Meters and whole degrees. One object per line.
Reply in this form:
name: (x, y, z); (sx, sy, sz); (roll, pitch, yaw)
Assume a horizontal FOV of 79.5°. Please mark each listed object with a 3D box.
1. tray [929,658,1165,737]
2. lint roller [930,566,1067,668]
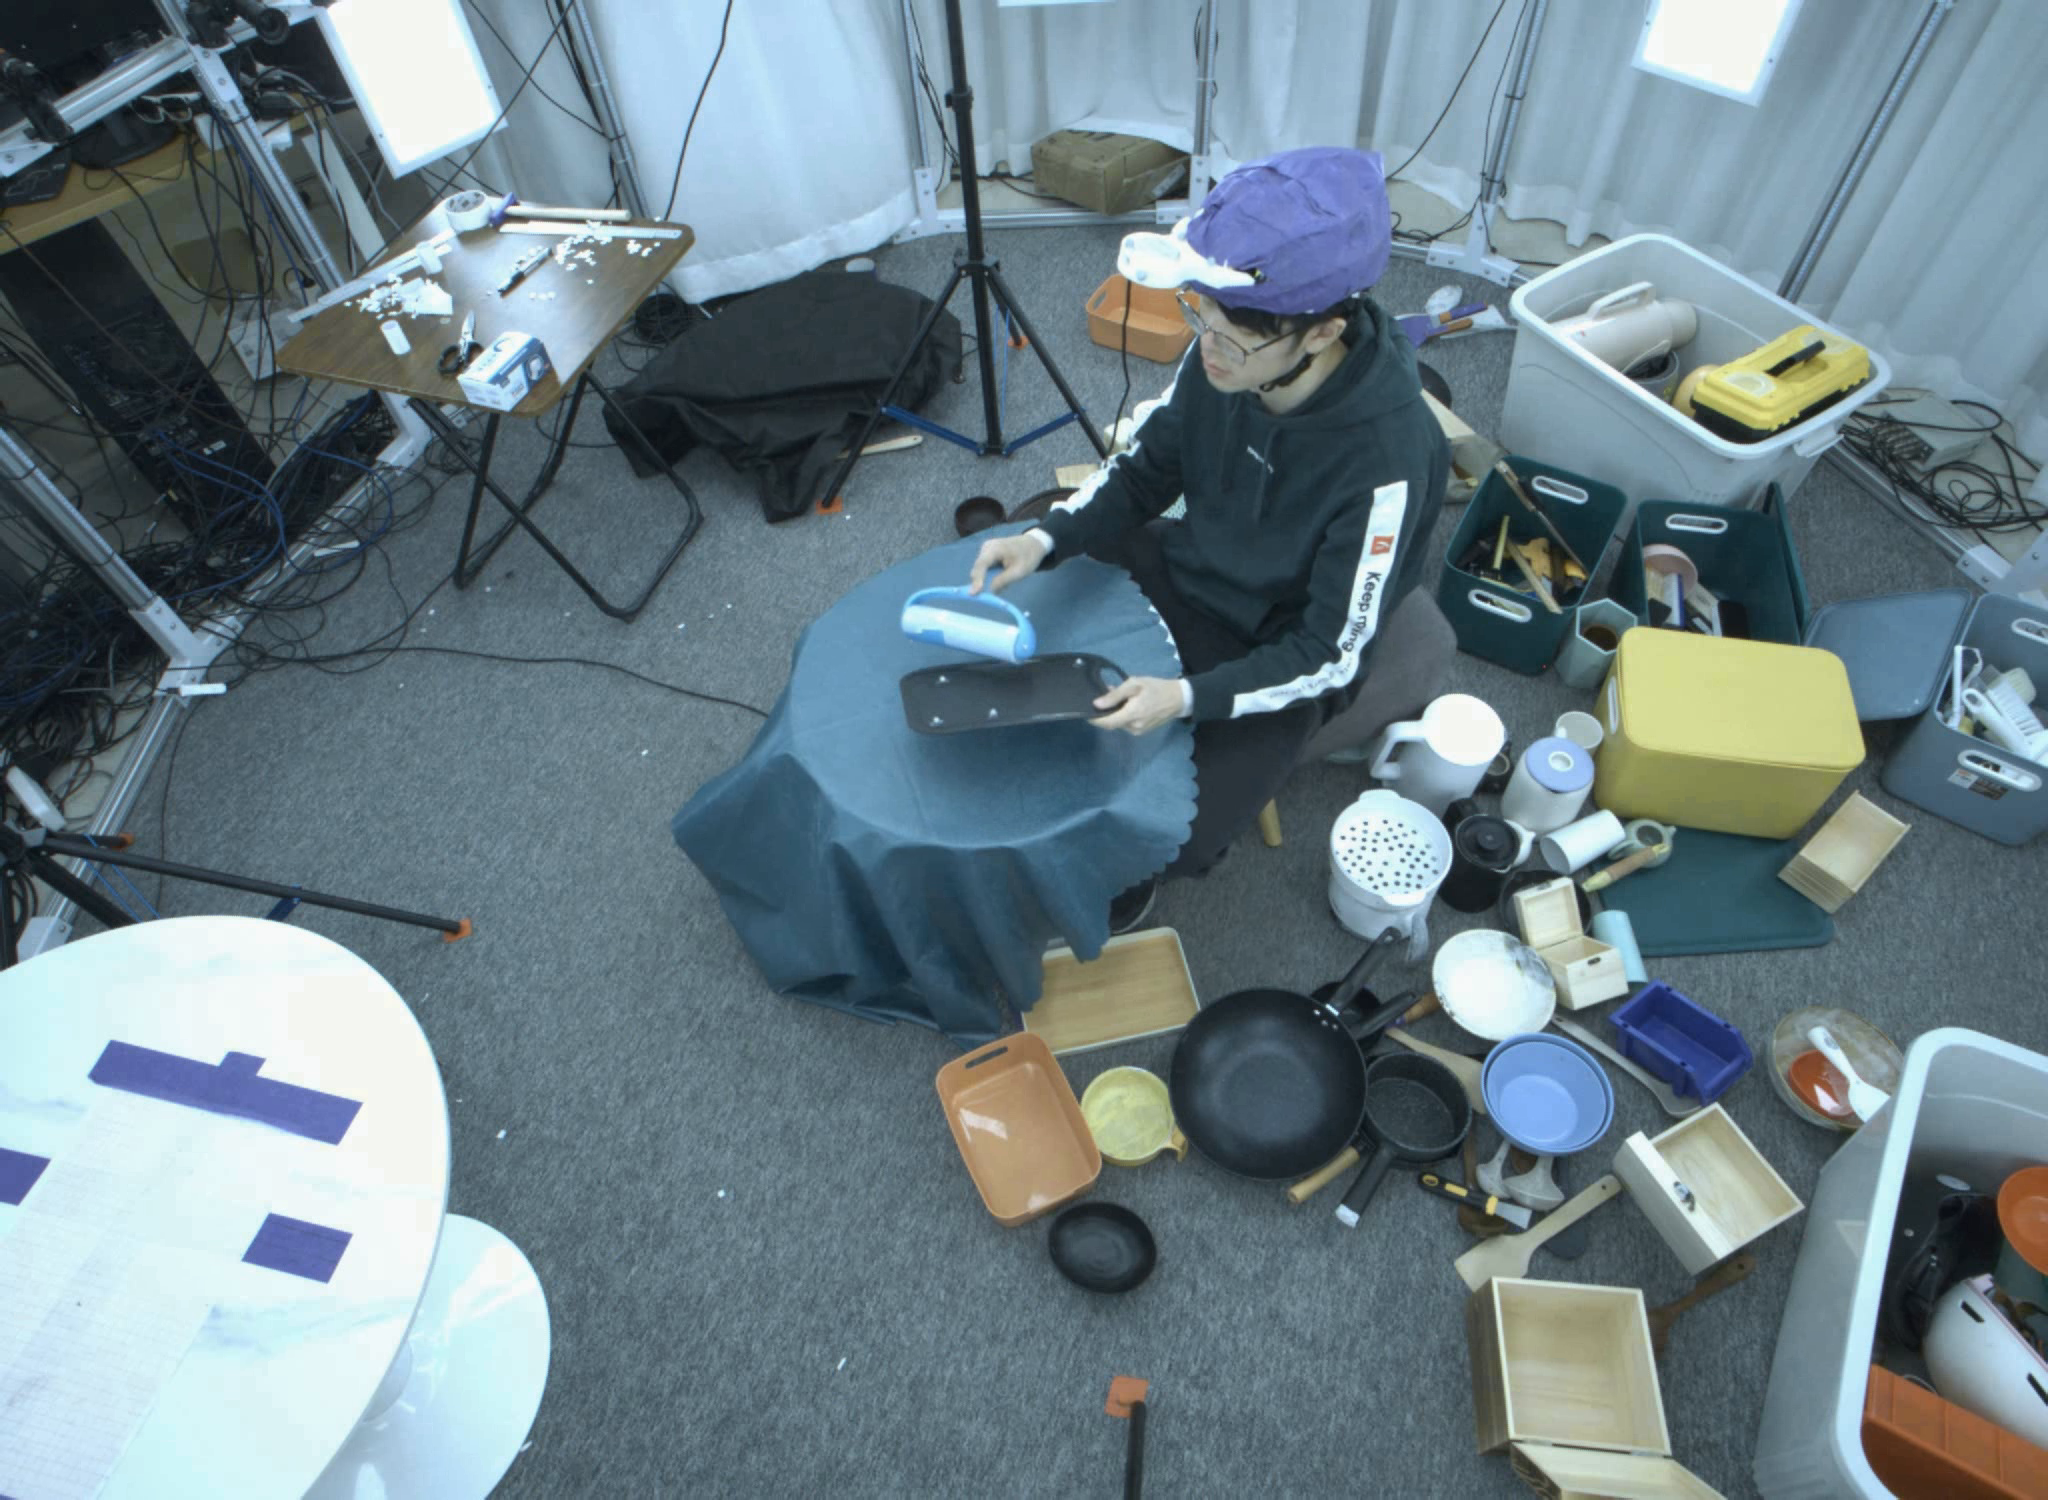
tray: (0.033, -0.079, 1.716); (0.327, 0.010, 0.208); (-5, 29, -8)
lint roller: (-0.016, -0.216, 1.796); (0.224, 0.069, 0.180); (14, 65, 28)
